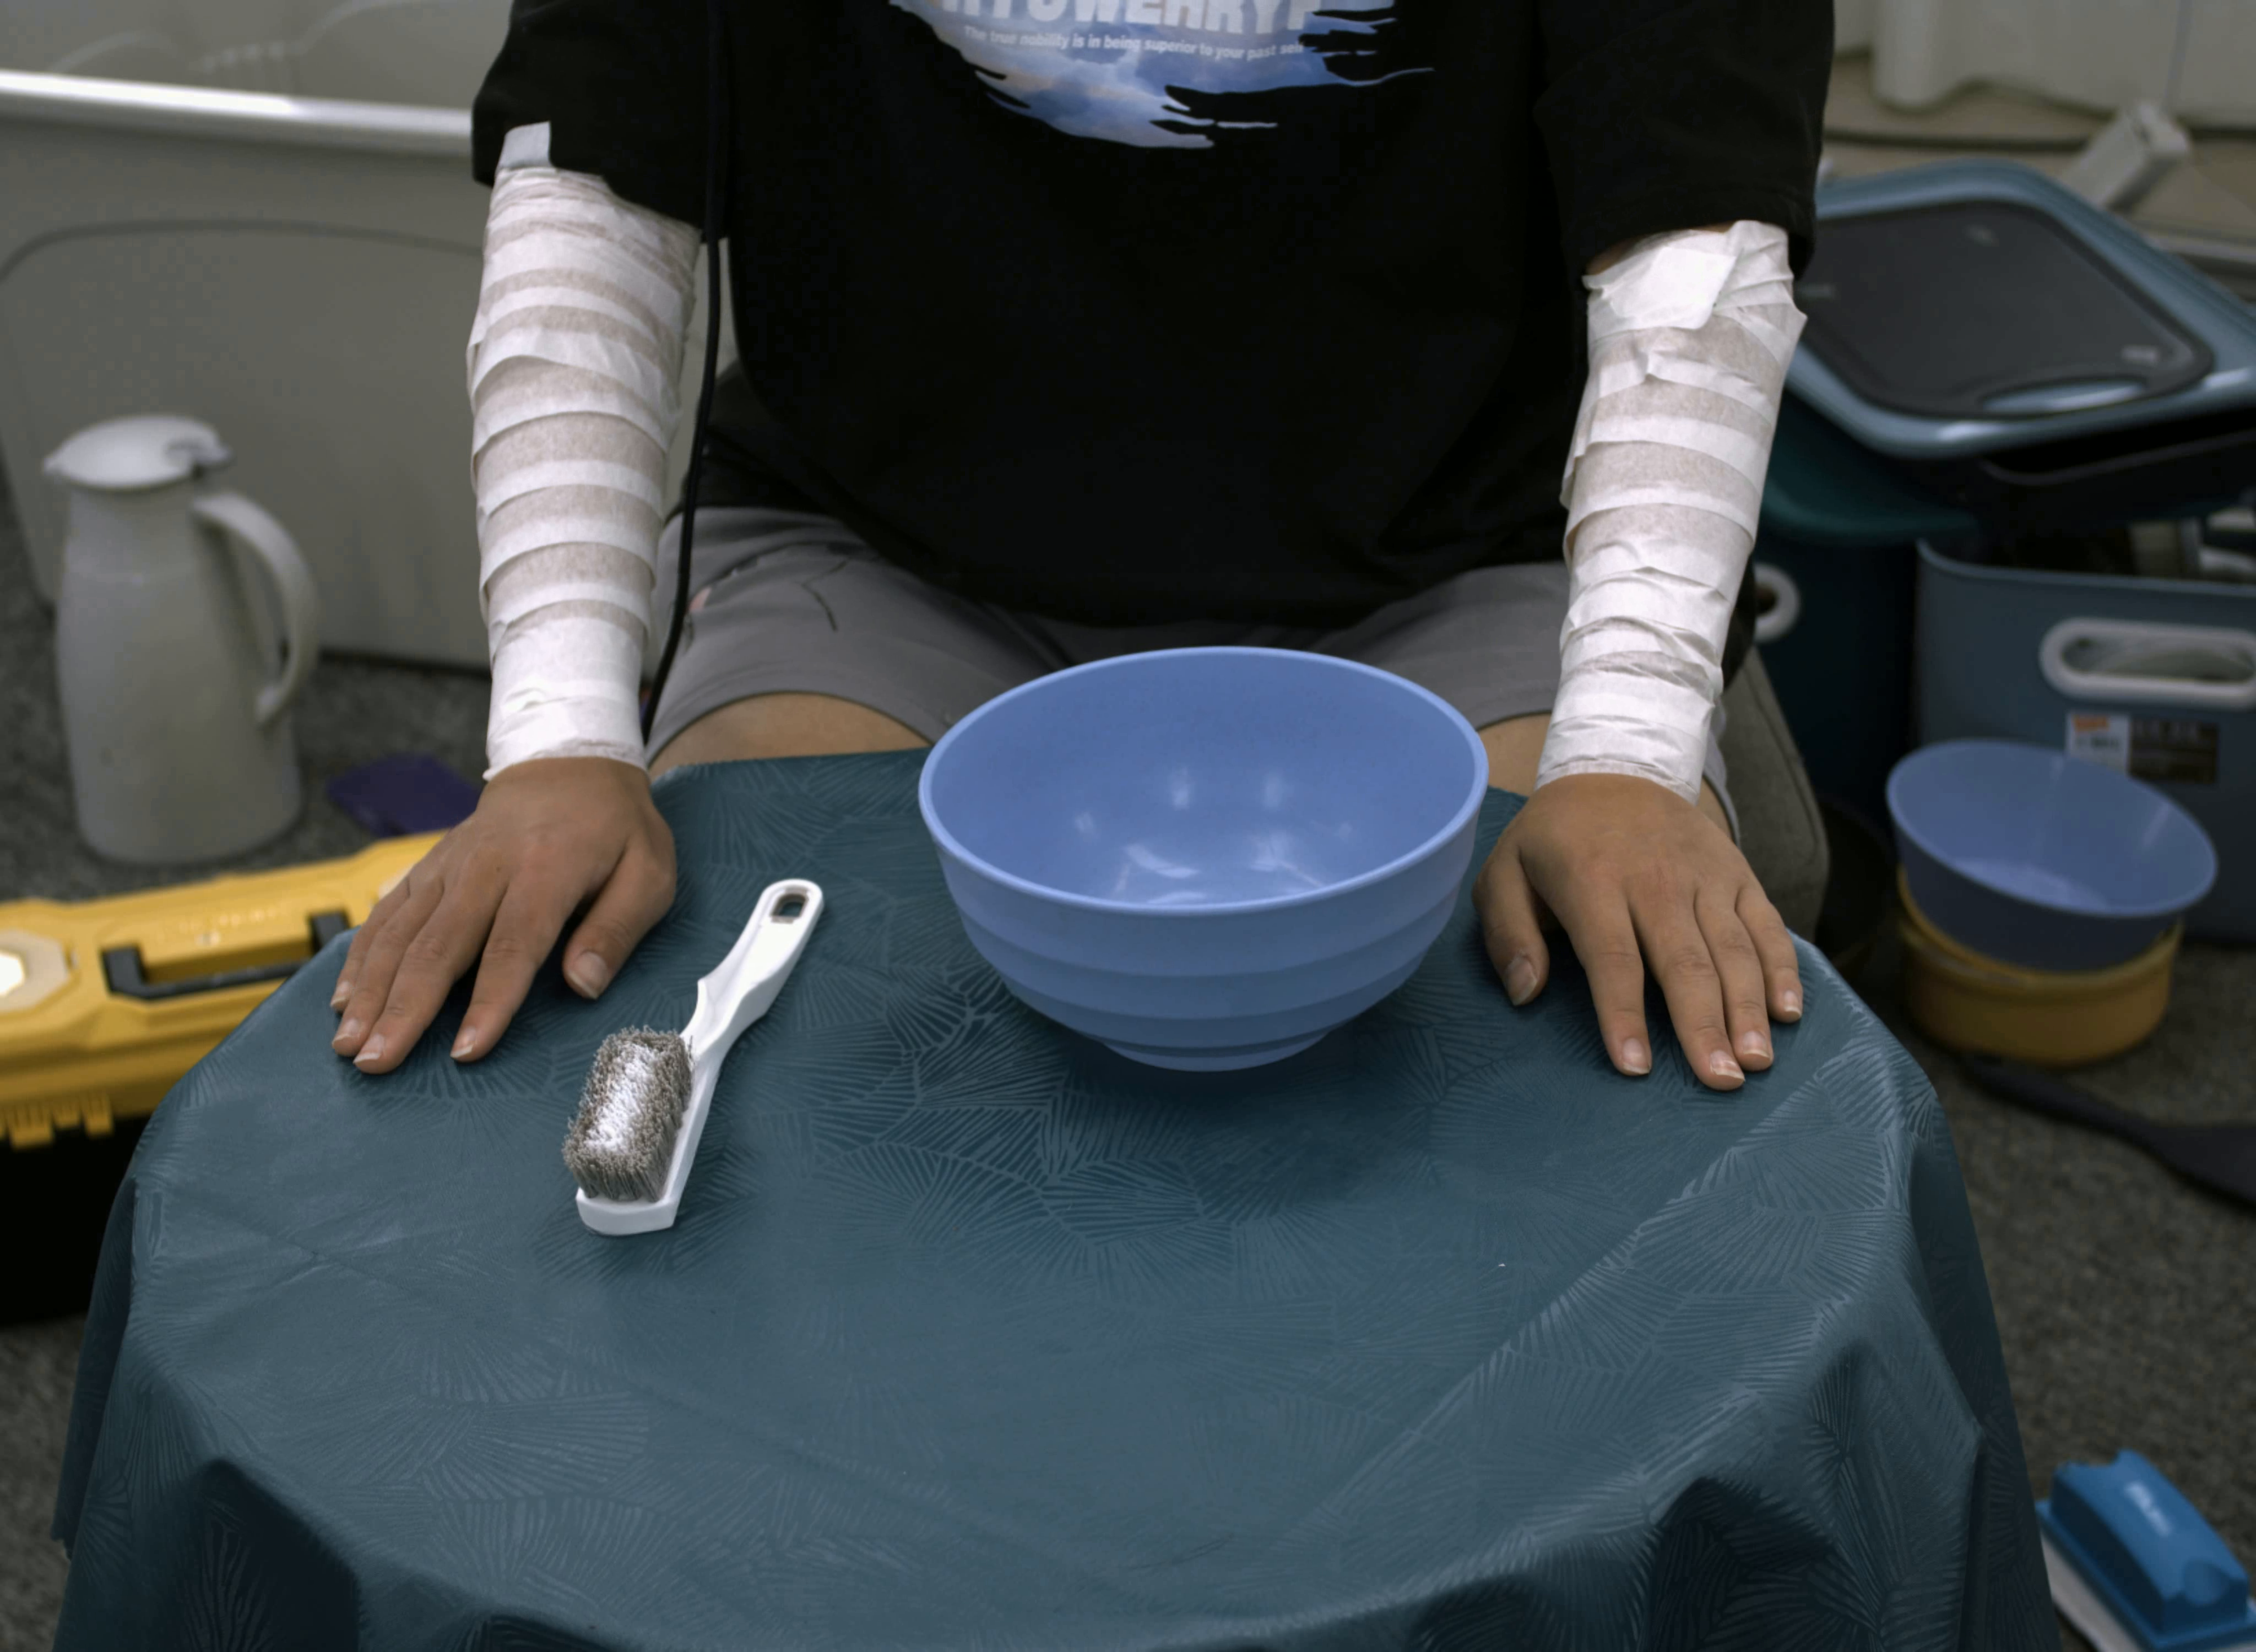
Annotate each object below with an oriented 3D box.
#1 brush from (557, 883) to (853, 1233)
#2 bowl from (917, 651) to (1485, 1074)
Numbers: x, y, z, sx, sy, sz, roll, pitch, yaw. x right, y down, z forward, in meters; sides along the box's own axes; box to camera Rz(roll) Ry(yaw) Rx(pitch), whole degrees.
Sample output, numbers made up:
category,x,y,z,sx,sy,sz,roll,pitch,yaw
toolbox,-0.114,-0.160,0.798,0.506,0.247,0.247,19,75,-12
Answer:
category,x,y,z,sx,sy,sz,roll,pitch,yaw
brush,-0.142,0.062,1.937,0.034,0.050,0.248,1,27,16
bowl,0.028,0.023,1.950,0.195,0.094,0.199,-3,27,2
